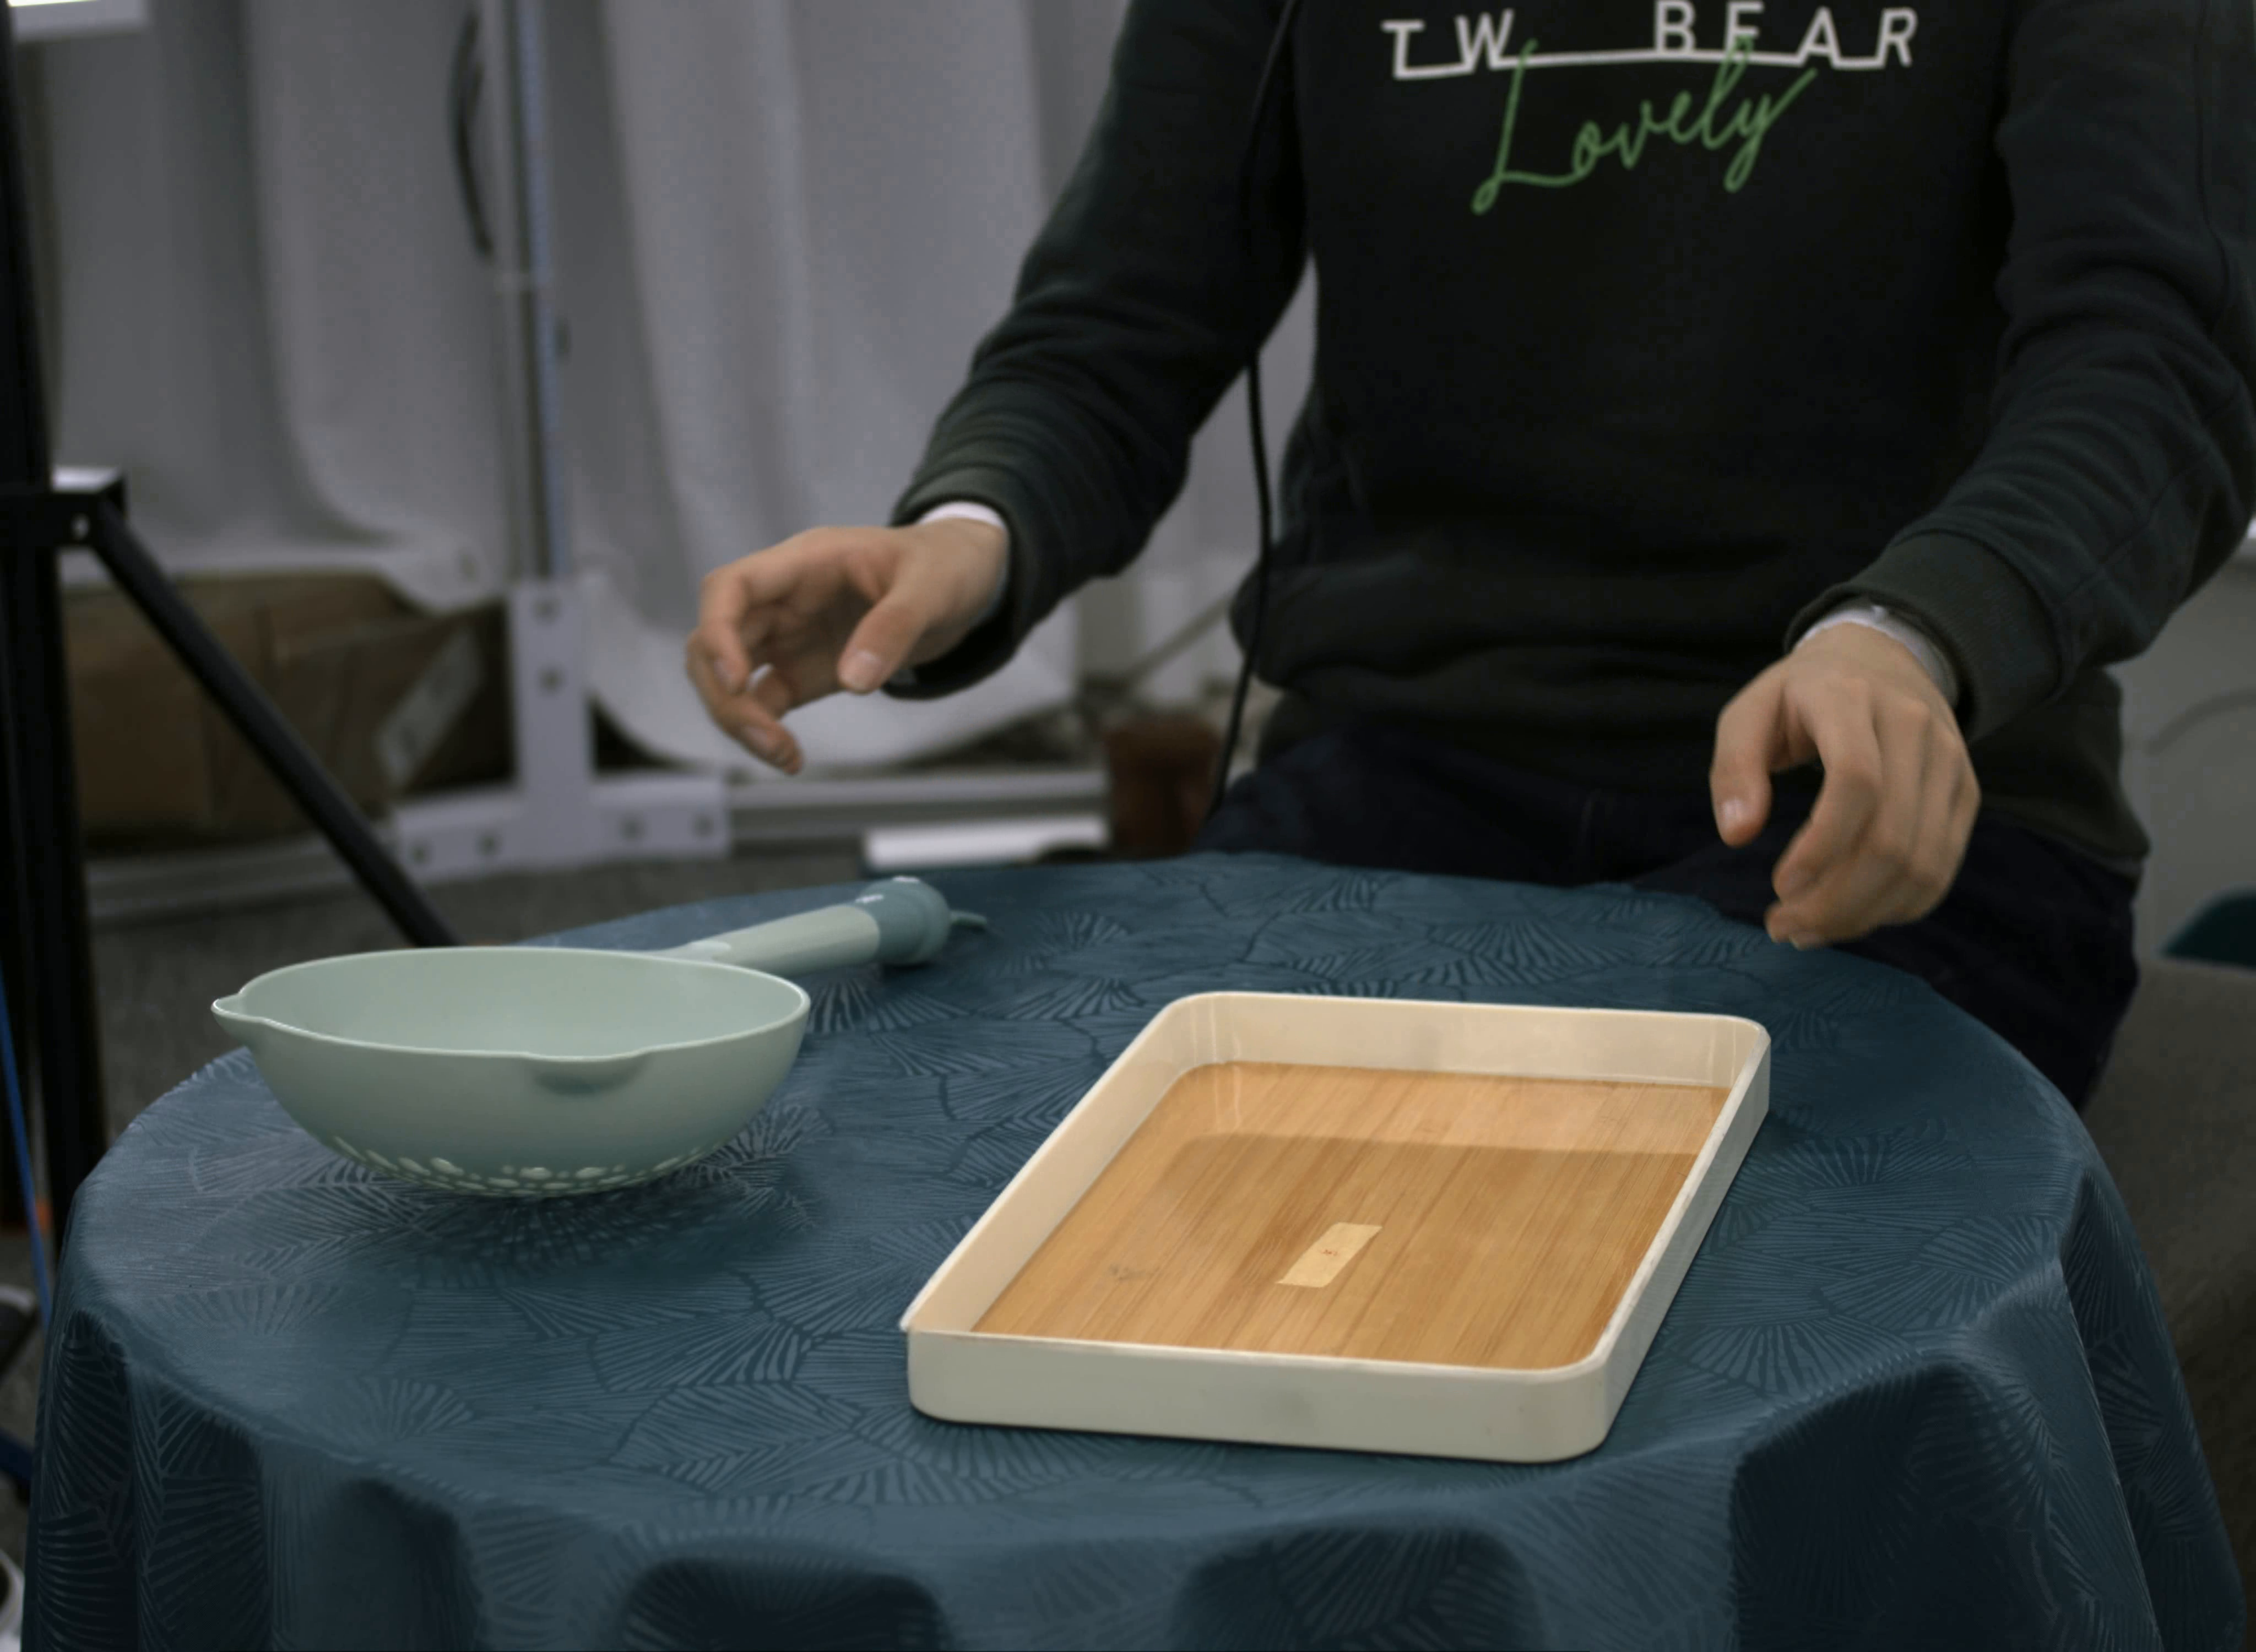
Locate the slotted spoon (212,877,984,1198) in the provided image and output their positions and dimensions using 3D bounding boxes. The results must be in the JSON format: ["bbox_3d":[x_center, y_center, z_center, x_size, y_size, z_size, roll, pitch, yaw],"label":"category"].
[{"bbox_3d":[-0.135,0.050,1.664,0.172,0.075,0.353,6,18,26],"label":"slotted spoon"}]

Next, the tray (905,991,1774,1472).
[{"bbox_3d":[0.068,0.109,1.497,0.193,0.027,0.297,2,17,17],"label":"tray"}]
